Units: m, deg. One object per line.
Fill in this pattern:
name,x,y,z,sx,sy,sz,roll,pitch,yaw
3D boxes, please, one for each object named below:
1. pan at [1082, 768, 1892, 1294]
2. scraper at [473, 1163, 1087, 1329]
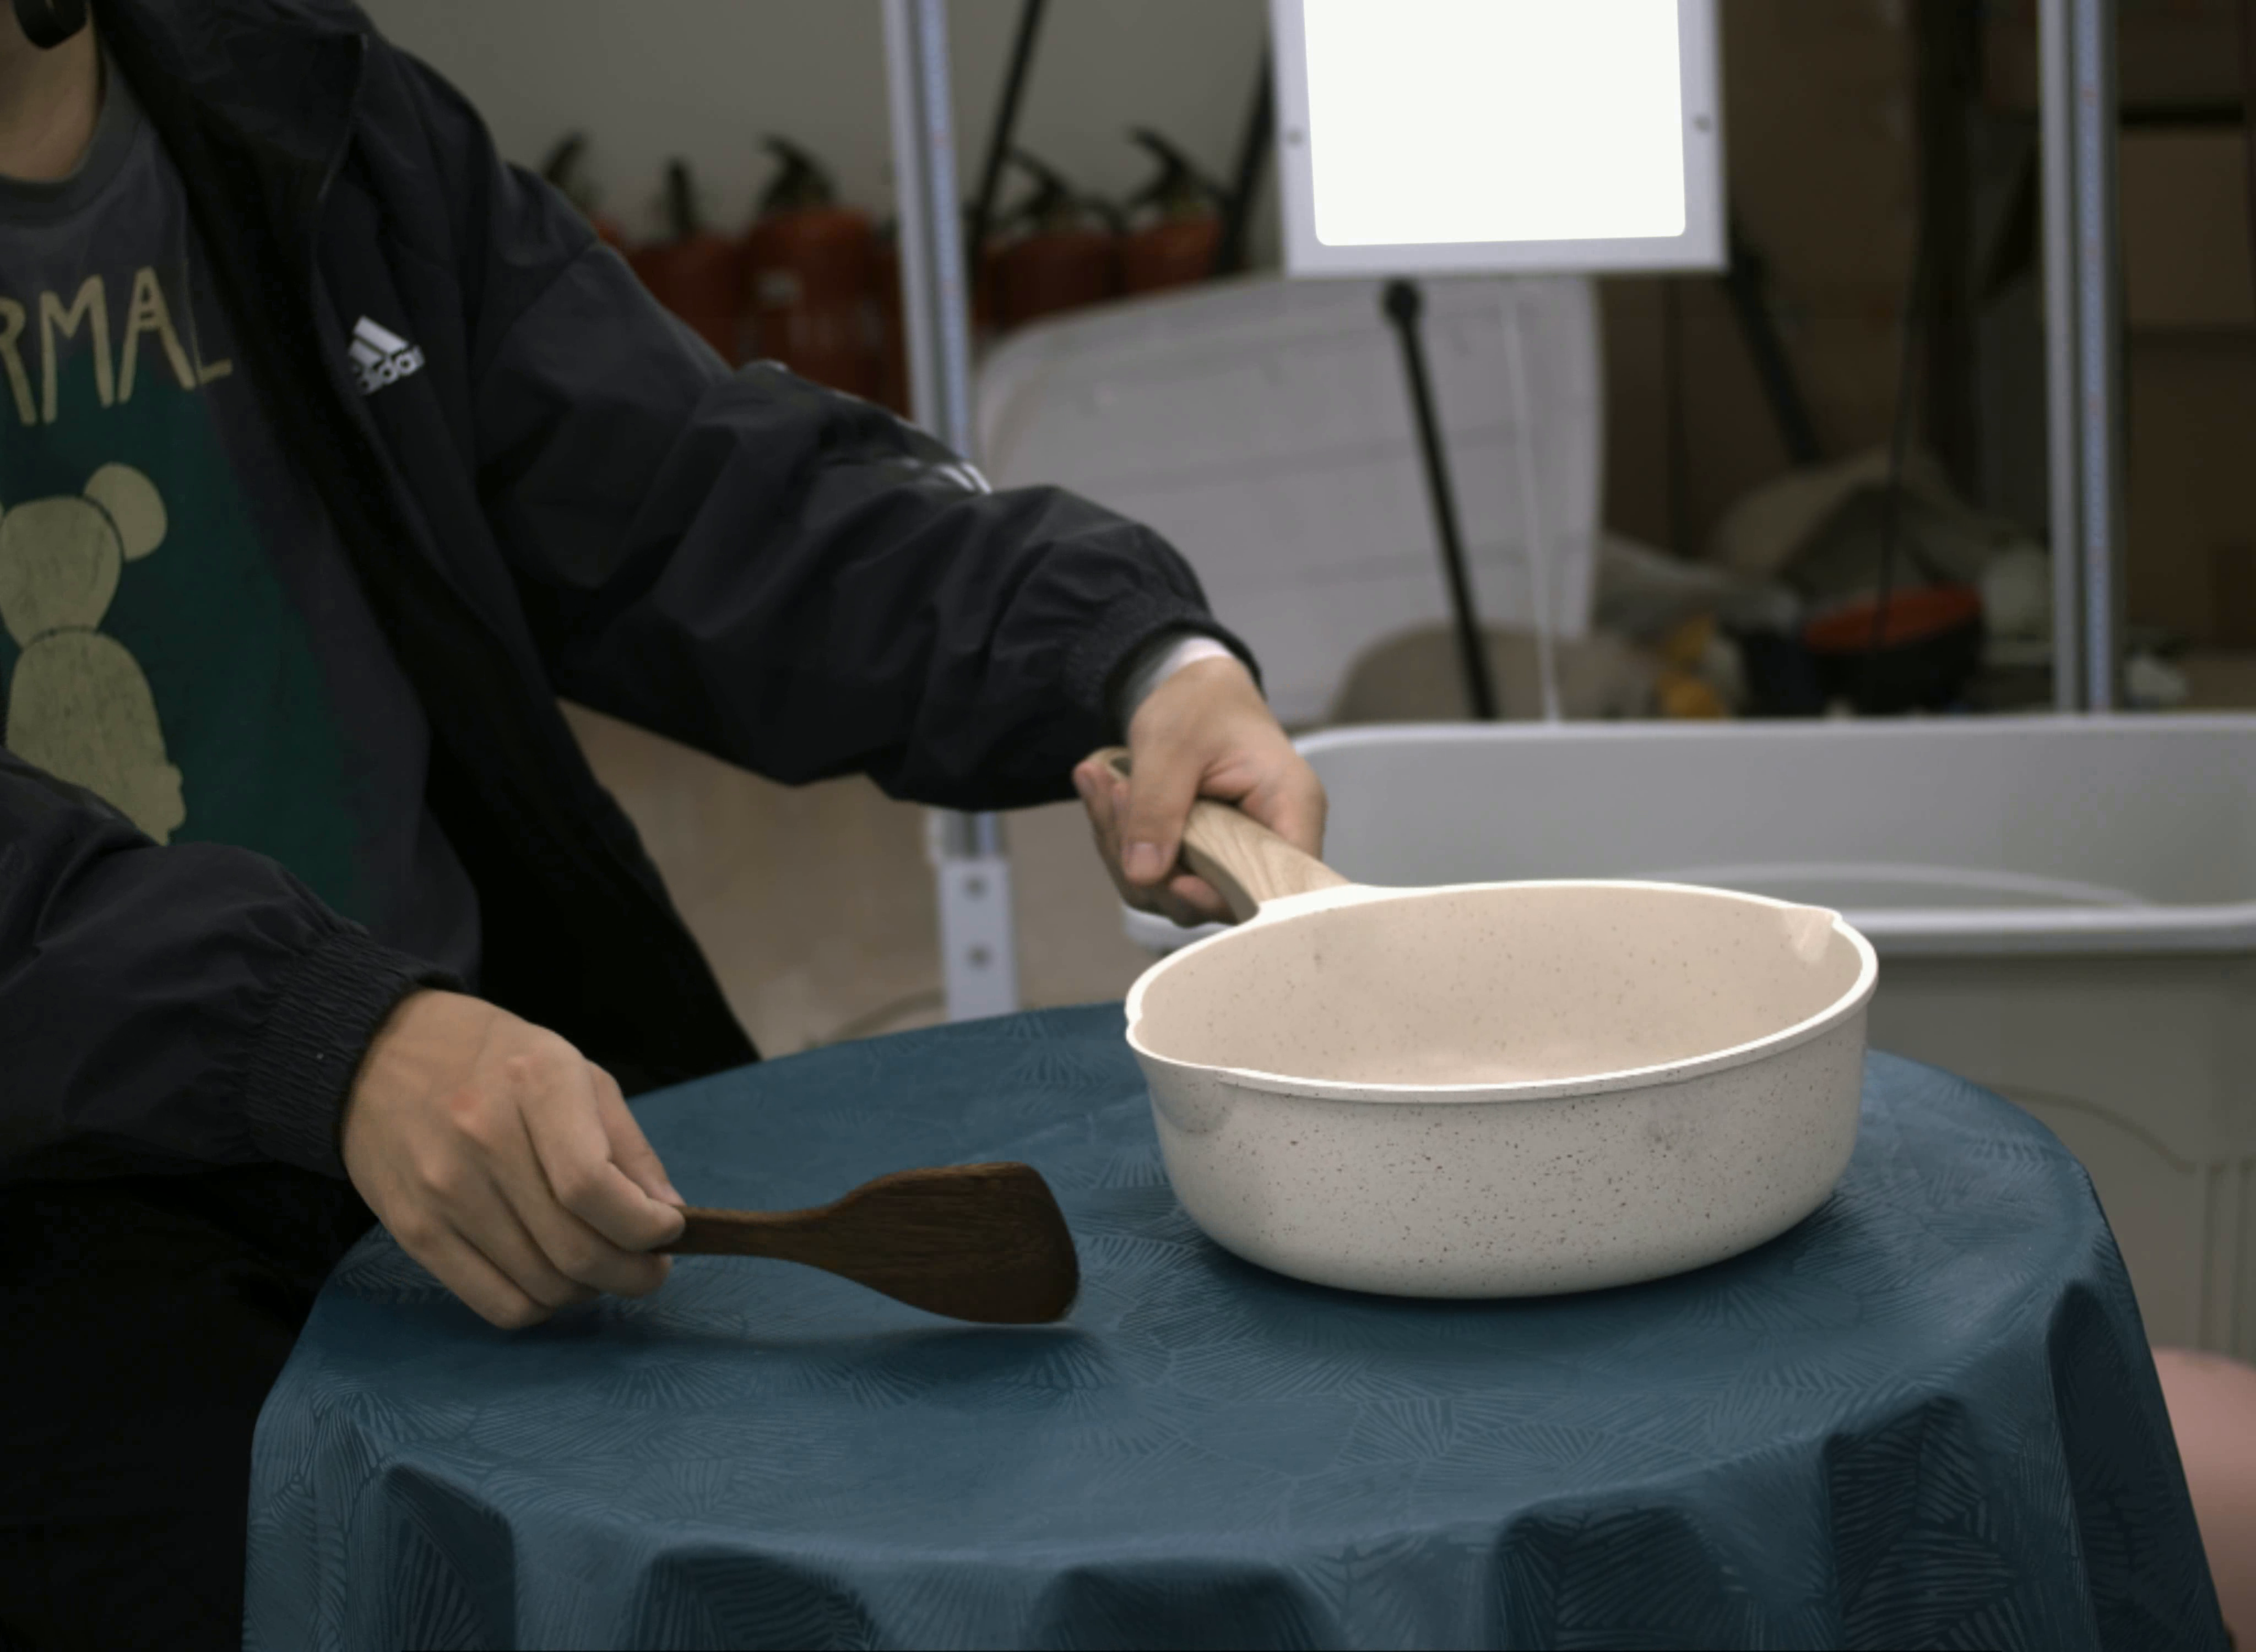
pan,0.093,0.064,1.913,0.258,0.102,0.441,-13,15,-22
scraper,-0.116,0.134,1.778,0.214,0.075,0.010,1,46,24
